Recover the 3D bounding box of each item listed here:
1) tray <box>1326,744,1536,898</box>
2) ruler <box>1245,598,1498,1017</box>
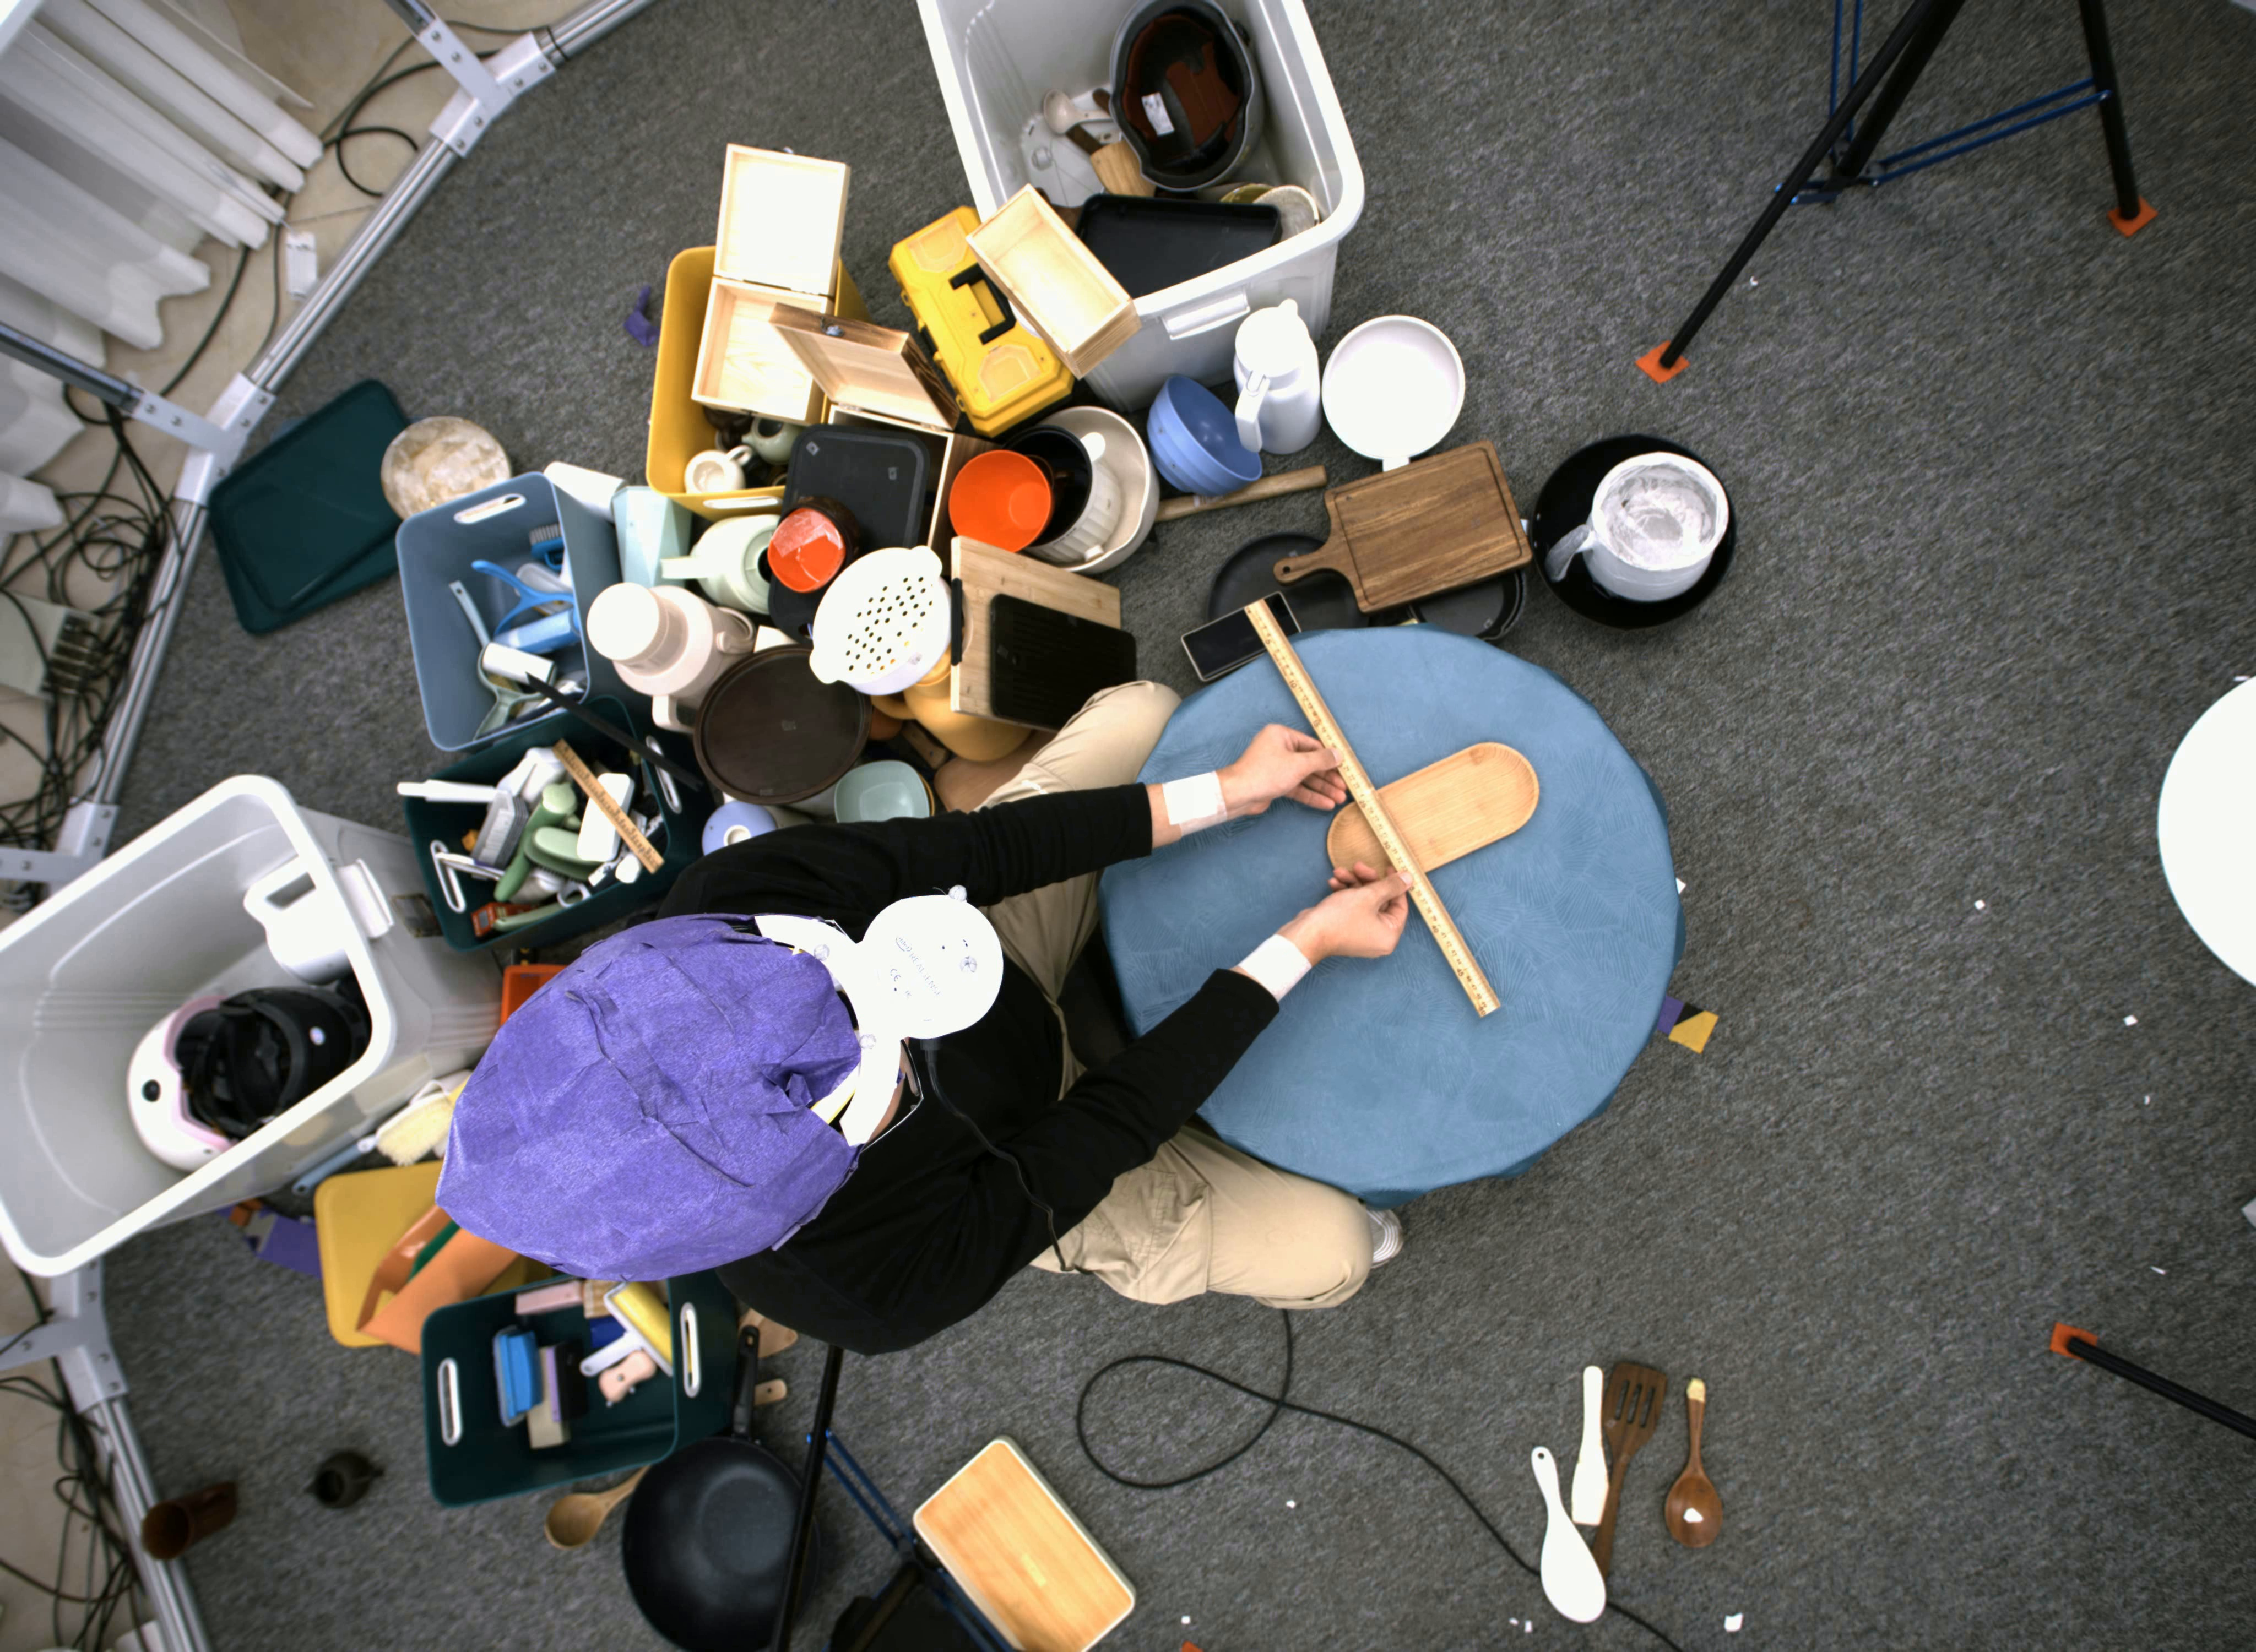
[{"bbox_3d":[0.317,-0.006,1.447,0.233,0.020,0.101,-28,81,10],"label":"tray"},{"bbox_3d":[0.252,-0.027,1.446,0.026,0.006,0.497,-27,81,-8],"label":"ruler"}]
